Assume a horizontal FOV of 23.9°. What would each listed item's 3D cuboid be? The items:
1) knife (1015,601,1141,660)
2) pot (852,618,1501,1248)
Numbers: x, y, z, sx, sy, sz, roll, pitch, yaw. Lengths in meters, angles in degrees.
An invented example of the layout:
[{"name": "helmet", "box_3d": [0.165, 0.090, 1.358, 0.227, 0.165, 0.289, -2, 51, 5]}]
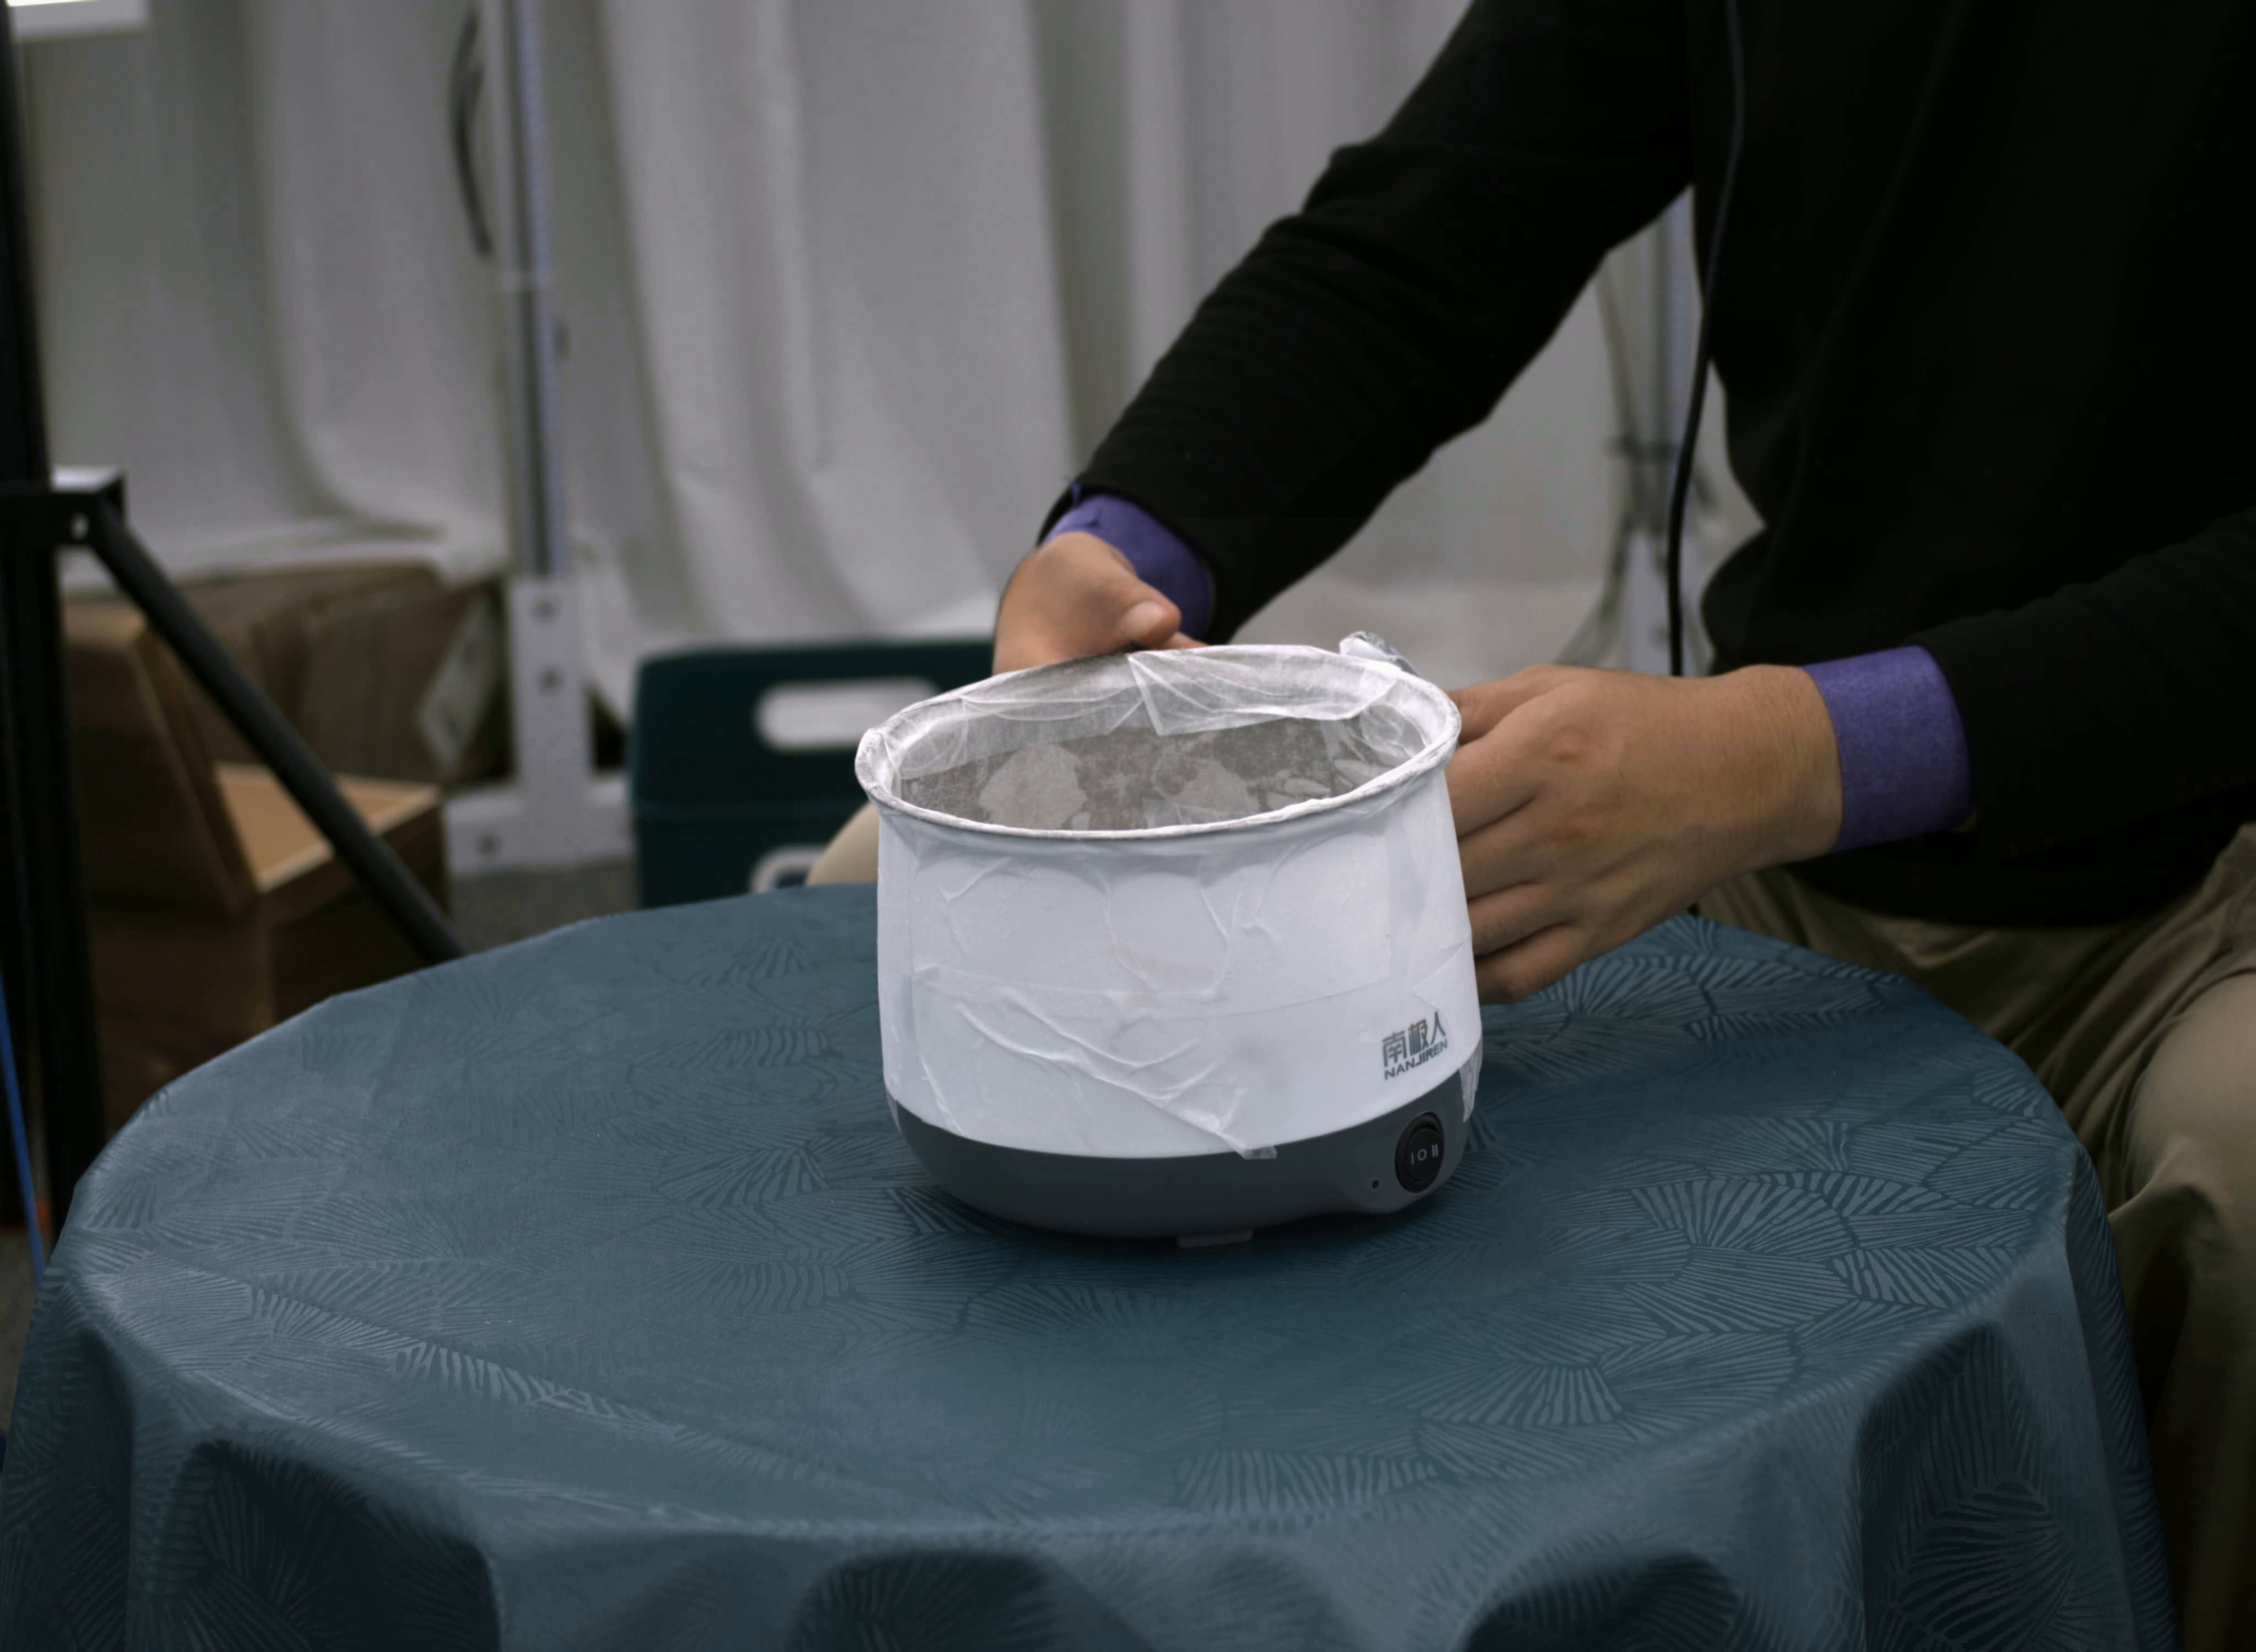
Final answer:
[{"name": "knife", "box_3d": [-0.012, -0.053, 1.653, 0.024, 0.016, 0.235, 0, -5, 10]}, {"name": "pot", "box_3d": [0.030, 0.024, 1.572, 0.182, 0.136, 0.229, 11, 25, 38]}]
